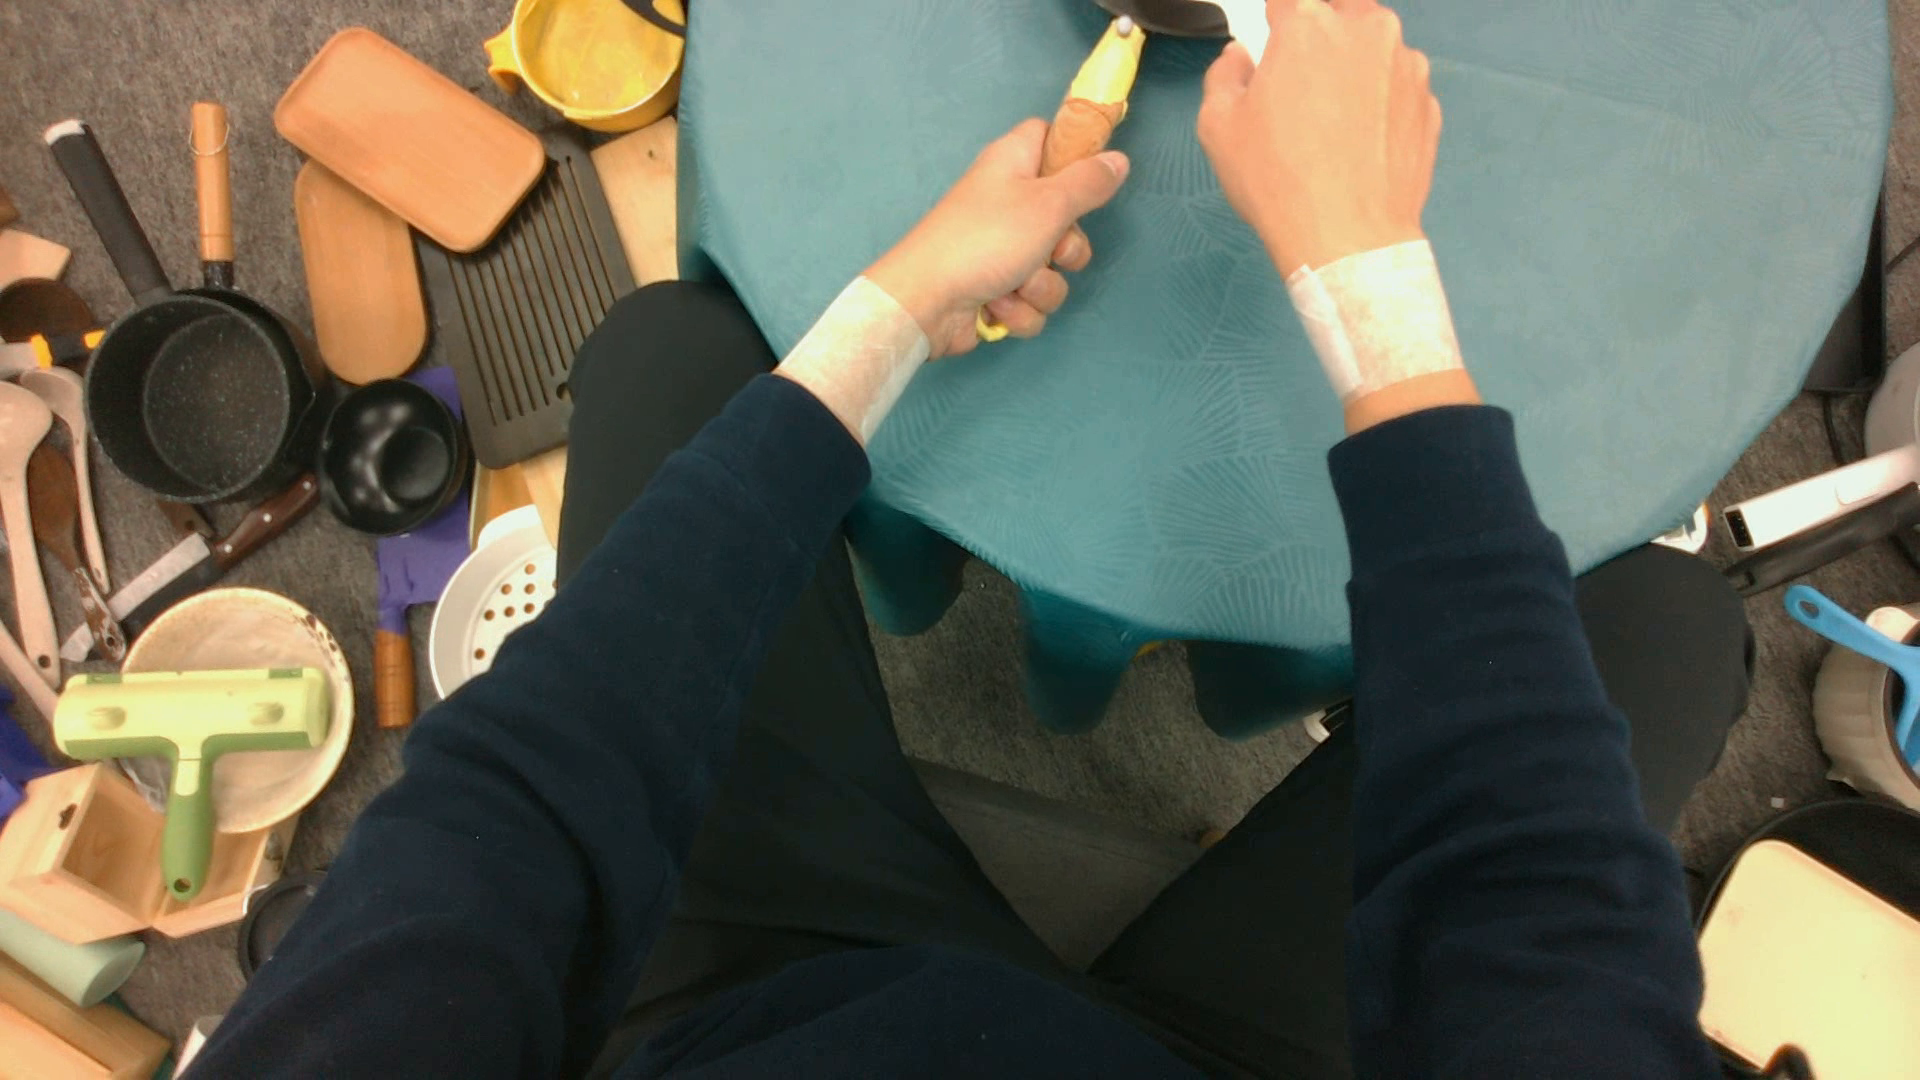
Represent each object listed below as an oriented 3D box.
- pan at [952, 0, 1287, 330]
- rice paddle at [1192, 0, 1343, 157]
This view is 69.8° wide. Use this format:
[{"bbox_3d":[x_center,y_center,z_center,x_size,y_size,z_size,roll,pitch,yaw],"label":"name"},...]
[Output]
[{"bbox_3d":[0.067,-0.241,0.655,0.169,0.049,0.324,26,81,-1],"label":"pan"},{"bbox_3d":[0.115,-0.246,0.622,0.069,0.029,0.206,-18,53,-1],"label":"rice paddle"}]
